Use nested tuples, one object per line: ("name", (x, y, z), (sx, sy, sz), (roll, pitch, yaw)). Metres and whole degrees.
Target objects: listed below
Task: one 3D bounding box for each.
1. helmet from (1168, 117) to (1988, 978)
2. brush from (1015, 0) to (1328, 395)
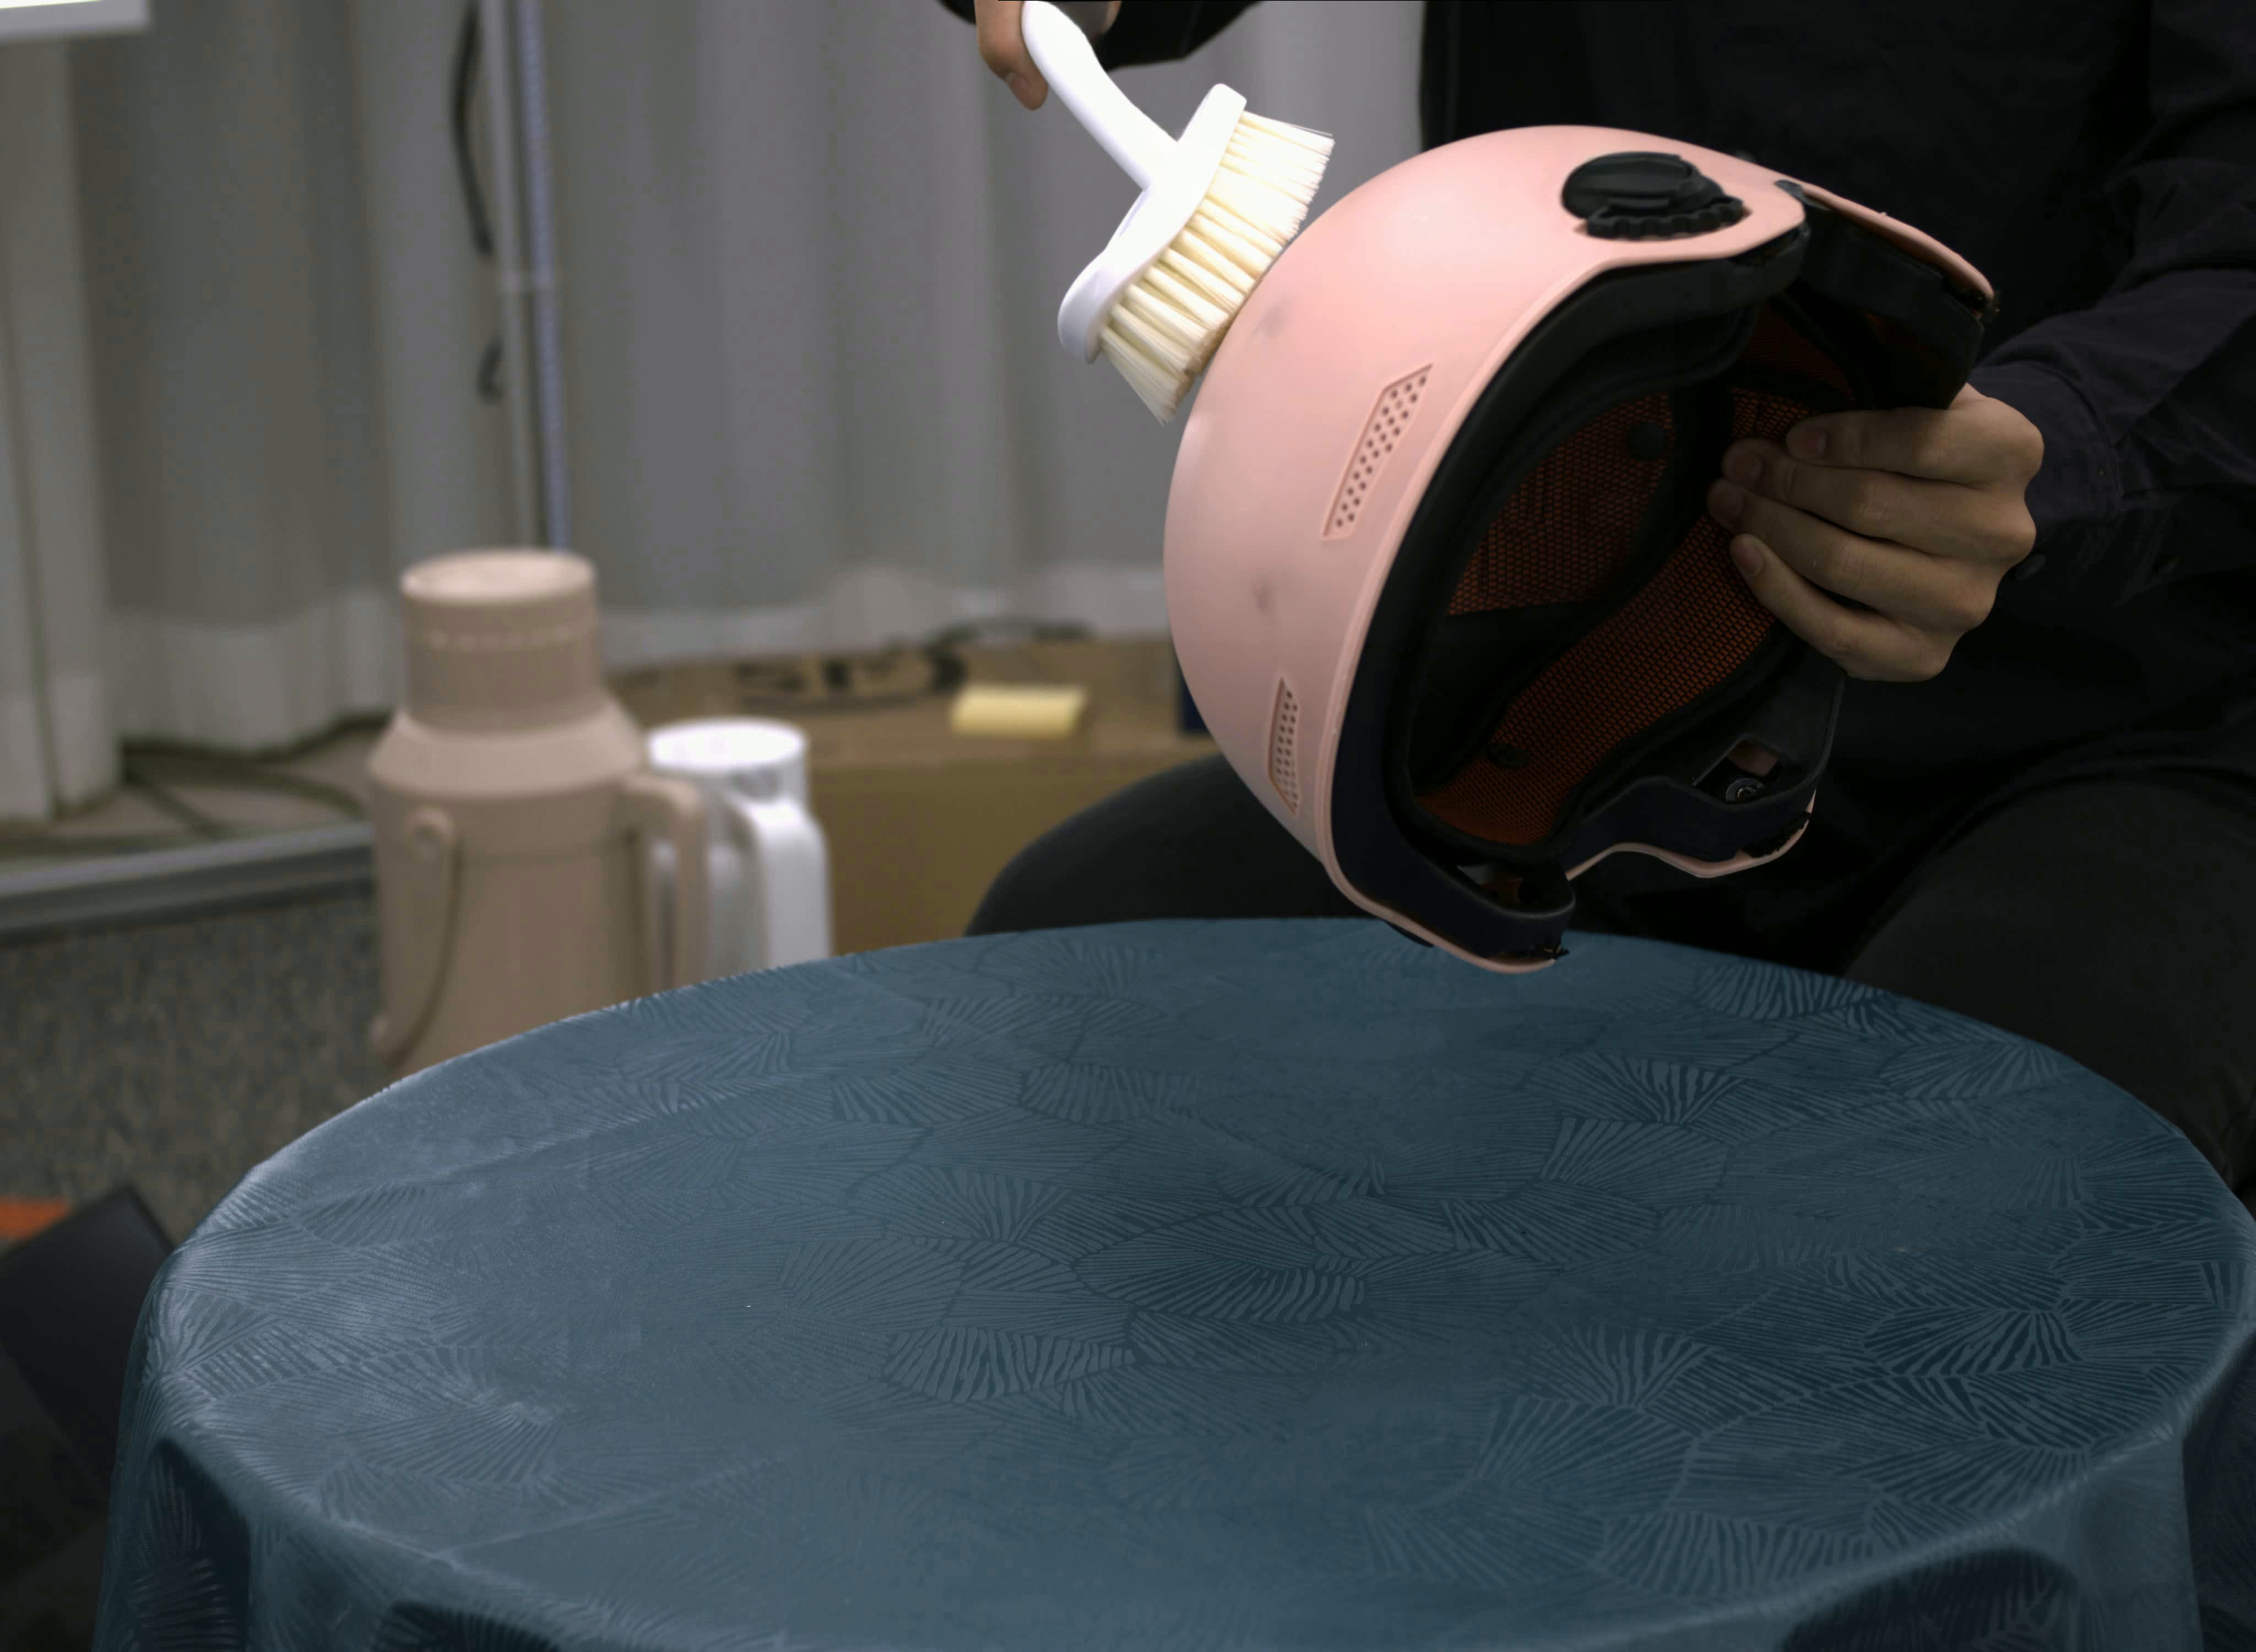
("helmet", (0.099, -0.093, 1.465), (0.162, 0.235, 0.260), (34, 30, 31))
("brush", (0.017, -0.218, 1.583), (0.083, 0.083, 0.328), (-22, 30, 11))
